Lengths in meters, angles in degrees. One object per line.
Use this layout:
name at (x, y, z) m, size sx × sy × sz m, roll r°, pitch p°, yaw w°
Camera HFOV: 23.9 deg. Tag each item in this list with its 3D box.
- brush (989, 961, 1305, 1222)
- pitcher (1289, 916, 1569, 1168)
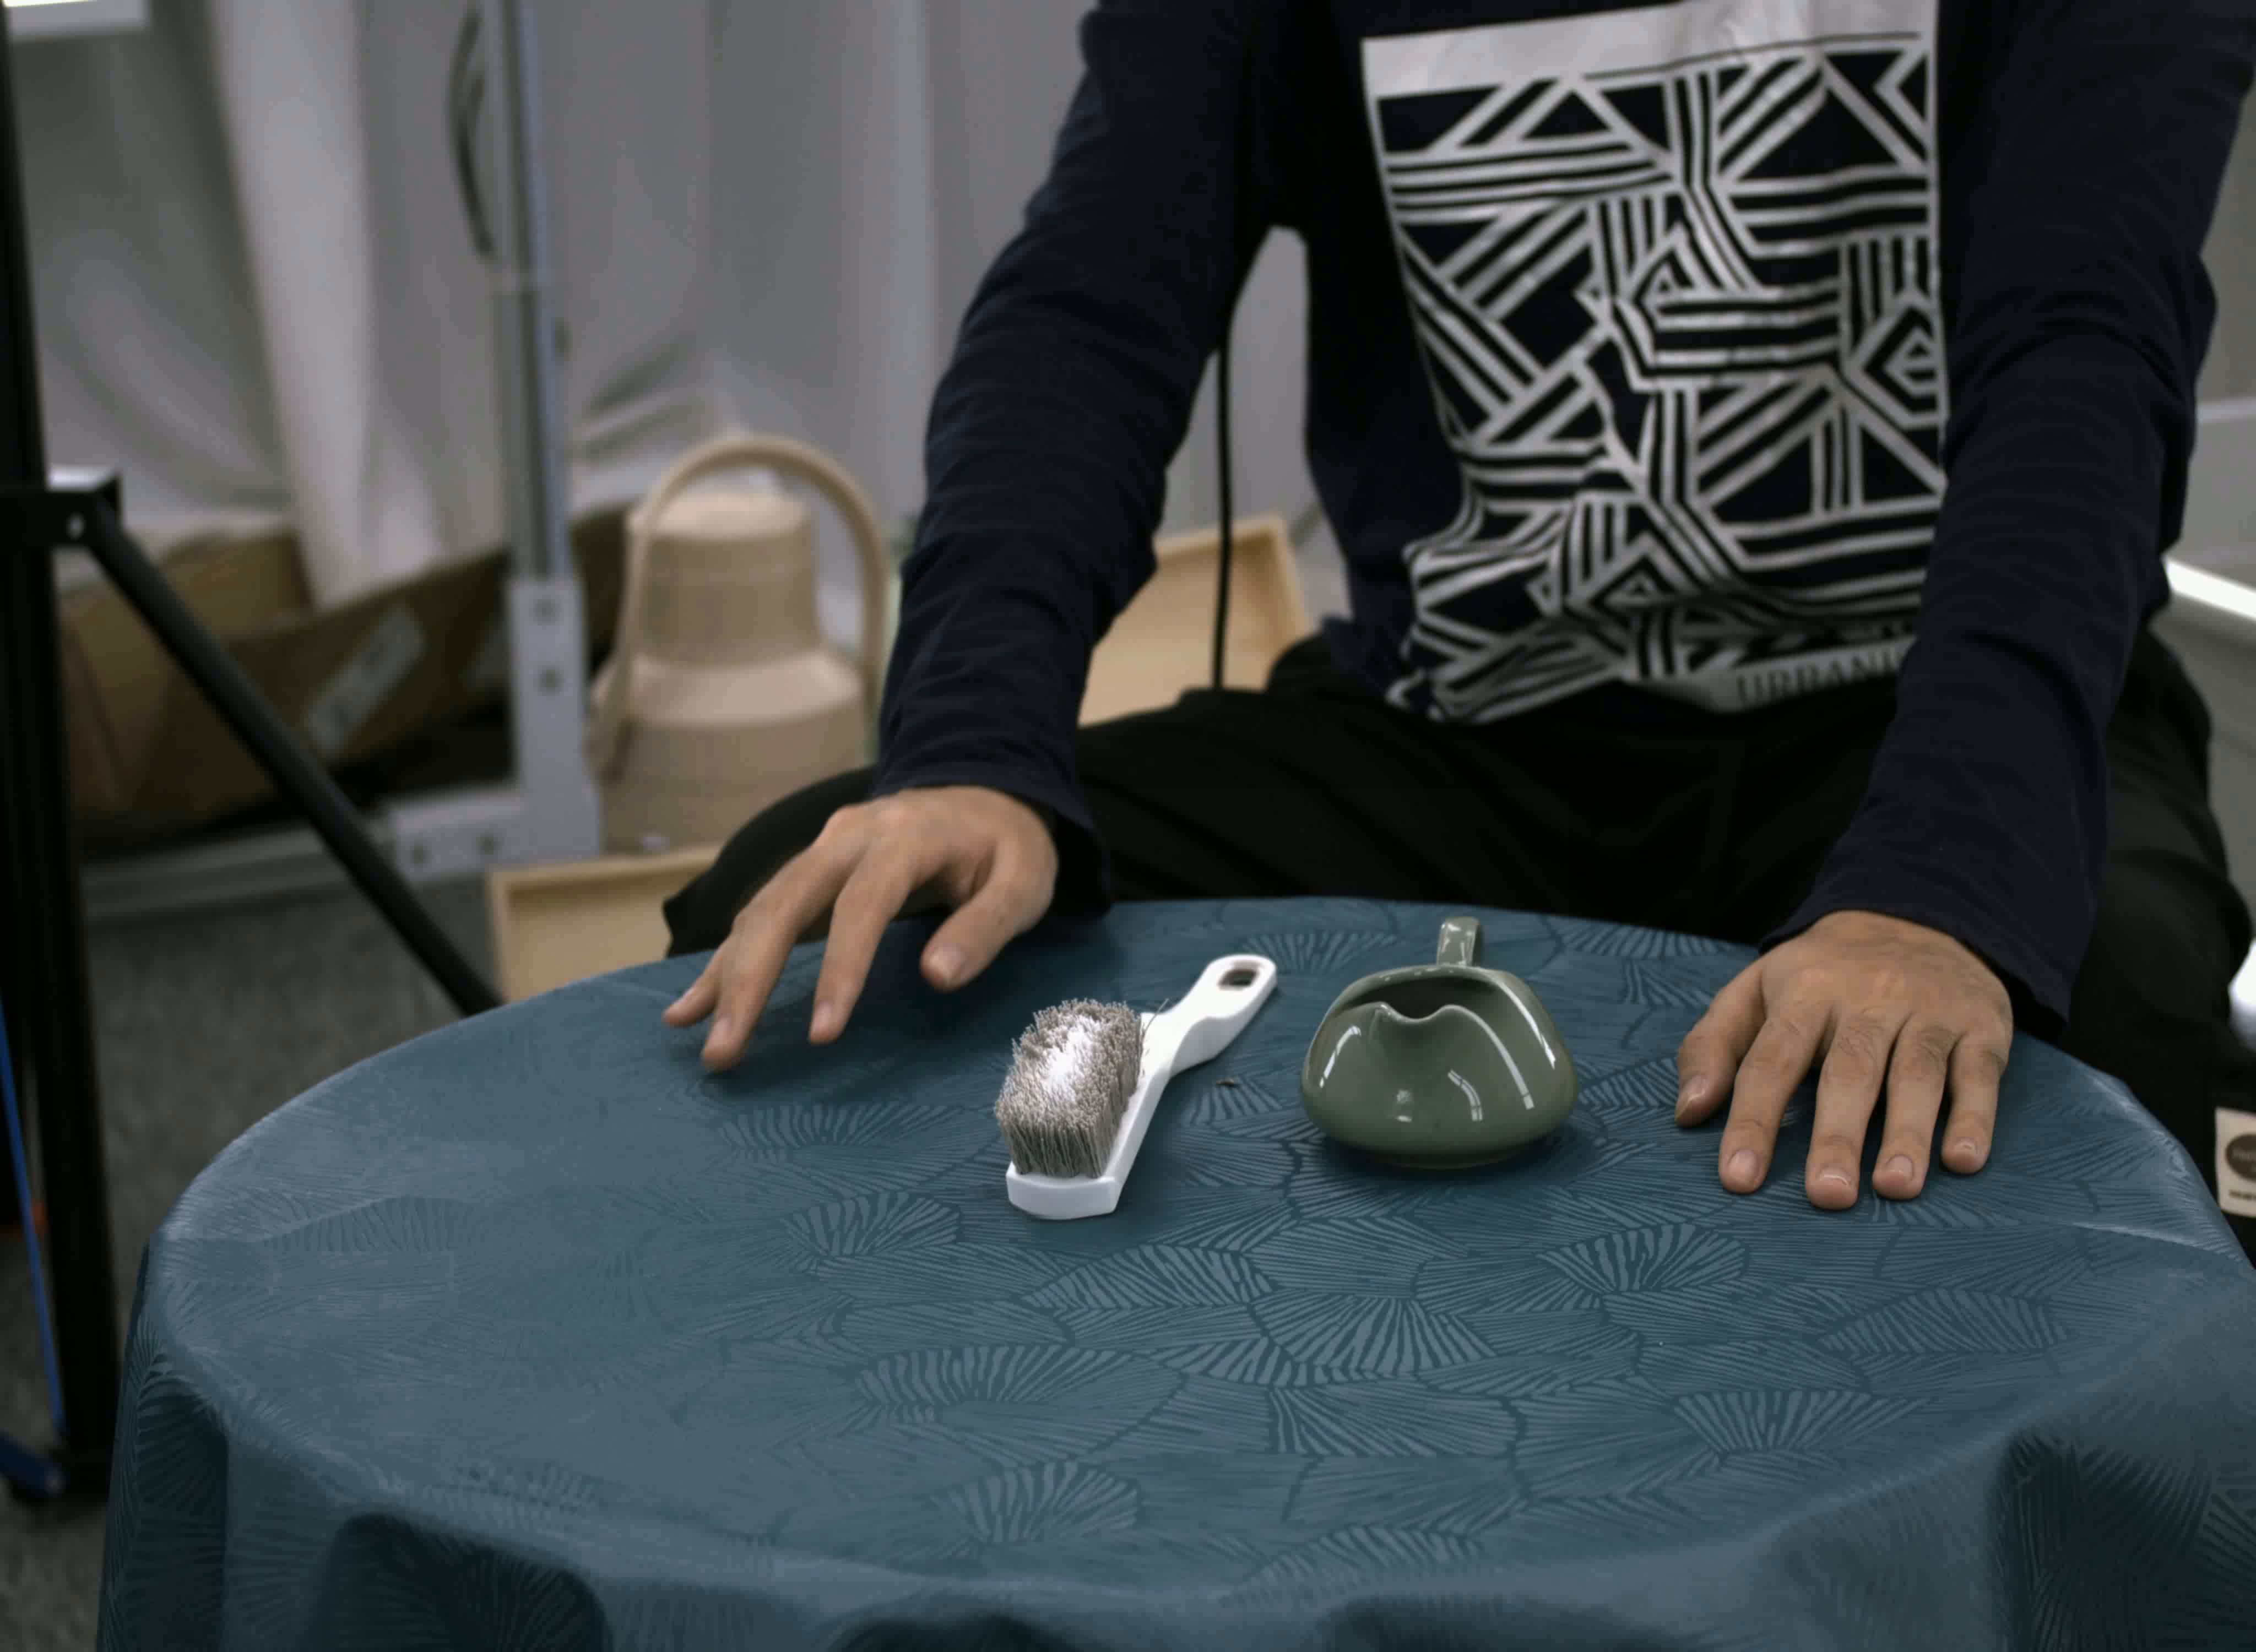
brush at (0.010, 0.062, 1.637) m, size 0.035 × 0.050 × 0.241 m, roll -2°, pitch 15°, yaw 20°
pitcher at (0.091, 0.066, 1.593) m, size 0.084 × 0.056 × 0.112 m, roll 2°, pitch 15°, yaw 8°
